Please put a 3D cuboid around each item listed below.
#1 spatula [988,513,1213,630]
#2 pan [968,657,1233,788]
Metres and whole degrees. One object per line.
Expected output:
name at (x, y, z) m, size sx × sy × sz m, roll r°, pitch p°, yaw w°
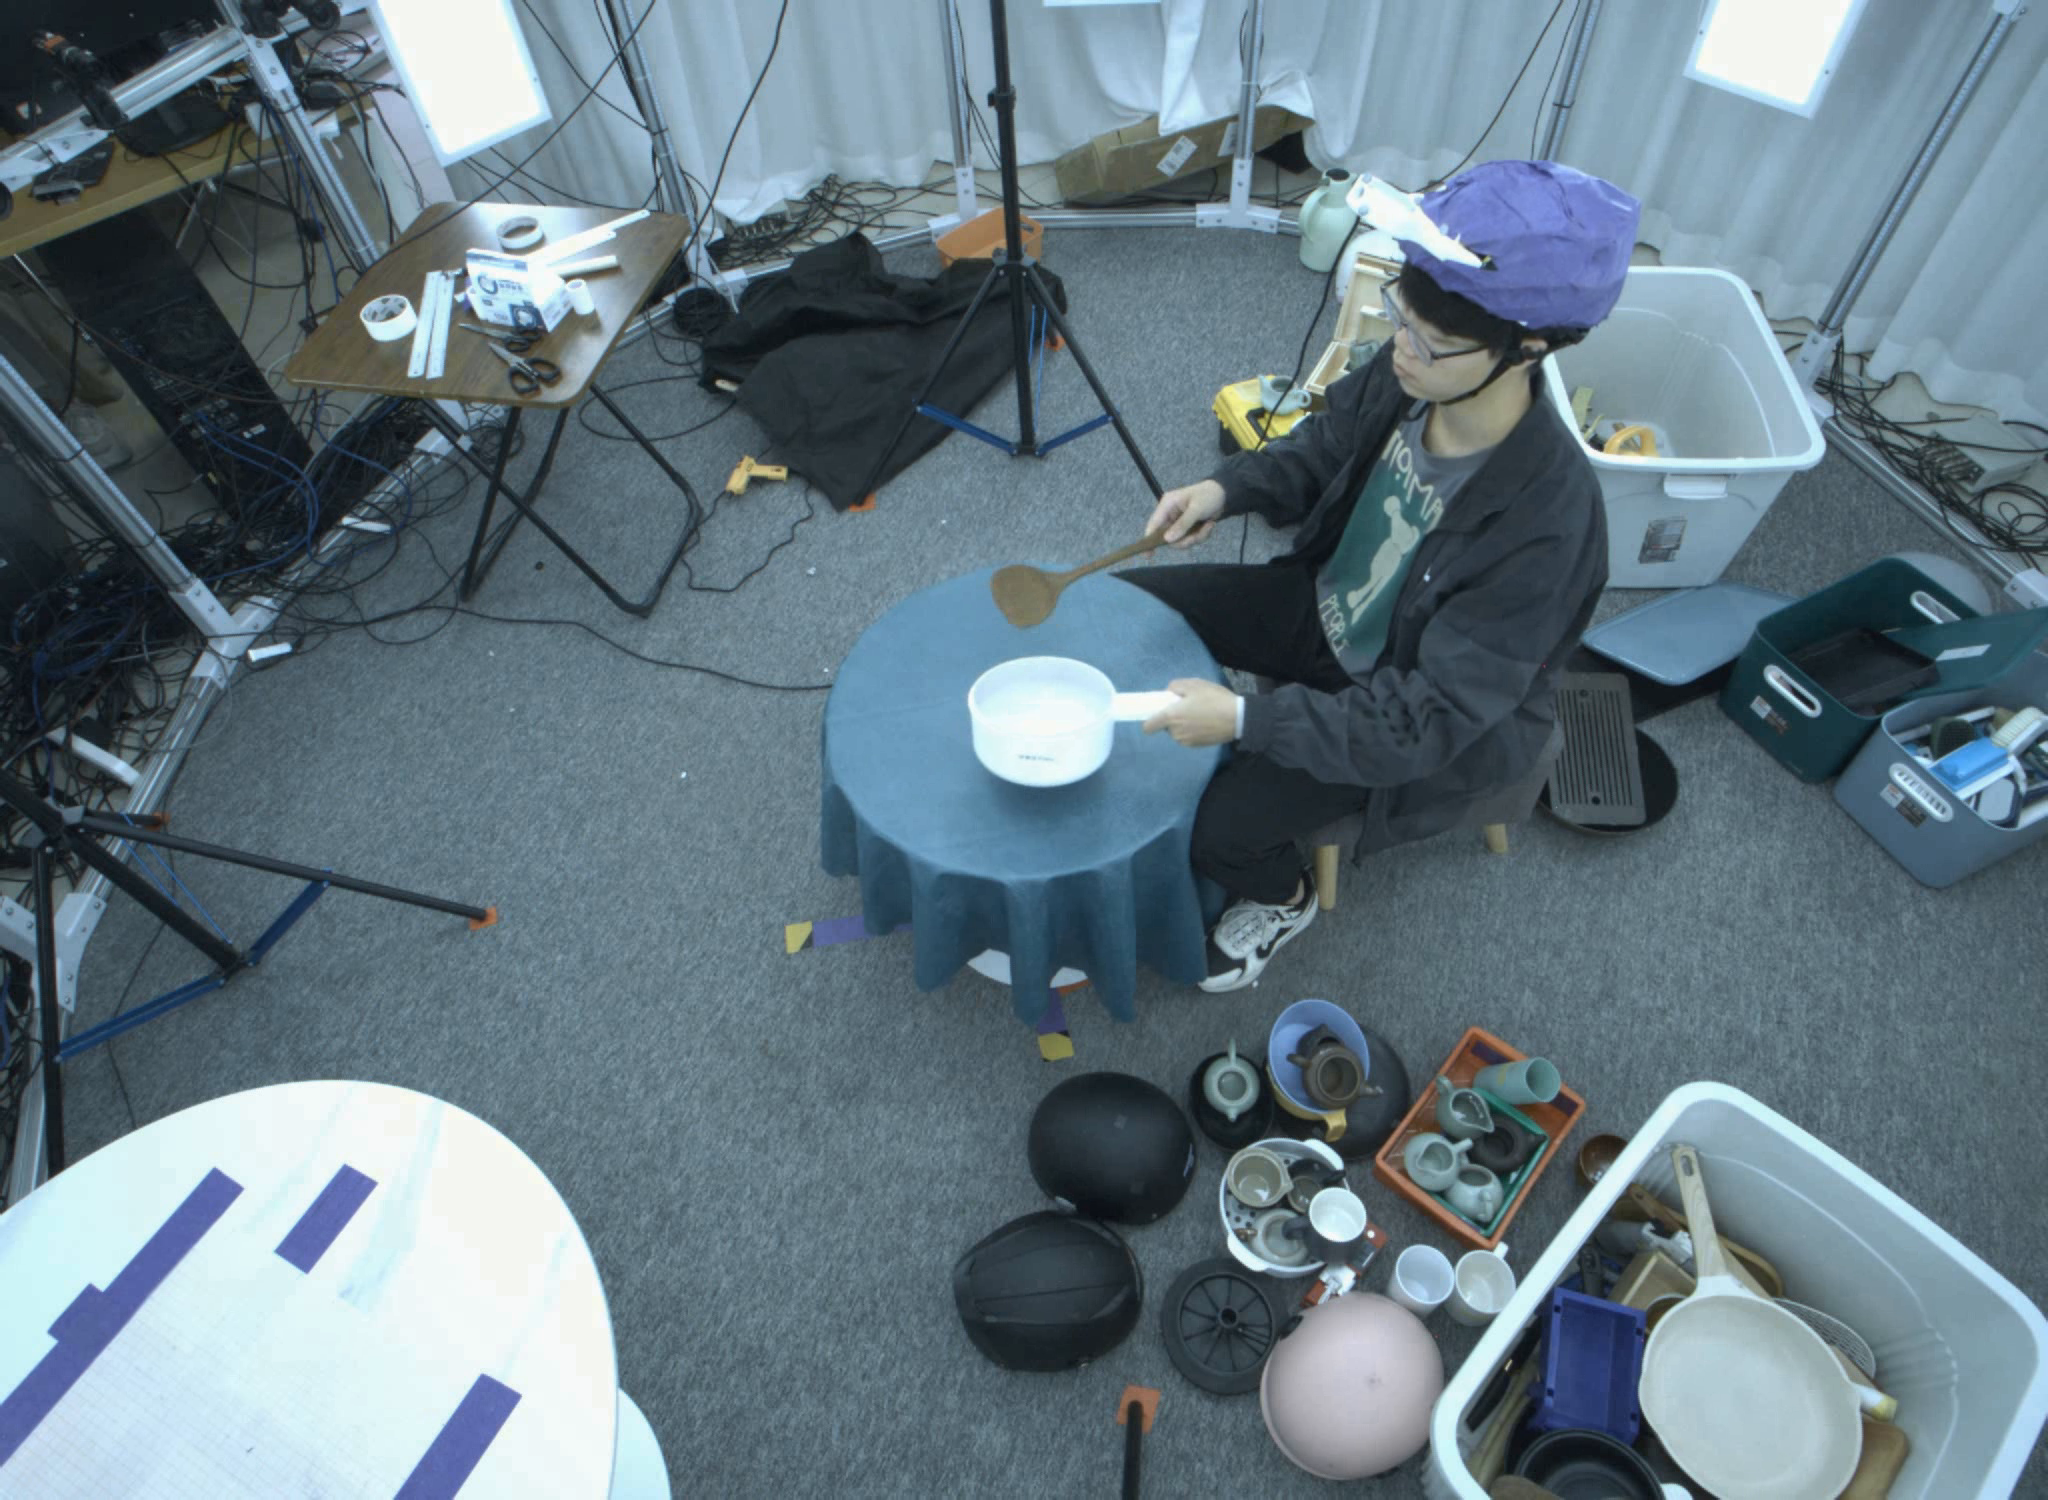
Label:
spatula at (0.122, -0.274, 1.773) m, size 0.390 × 0.016 × 0.095 m, roll -26°, pitch 81°, yaw -23°
pan at (0.102, -0.032, 1.680) m, size 0.355 × 0.103 × 0.199 m, roll 1°, pitch 36°, yaw -1°
